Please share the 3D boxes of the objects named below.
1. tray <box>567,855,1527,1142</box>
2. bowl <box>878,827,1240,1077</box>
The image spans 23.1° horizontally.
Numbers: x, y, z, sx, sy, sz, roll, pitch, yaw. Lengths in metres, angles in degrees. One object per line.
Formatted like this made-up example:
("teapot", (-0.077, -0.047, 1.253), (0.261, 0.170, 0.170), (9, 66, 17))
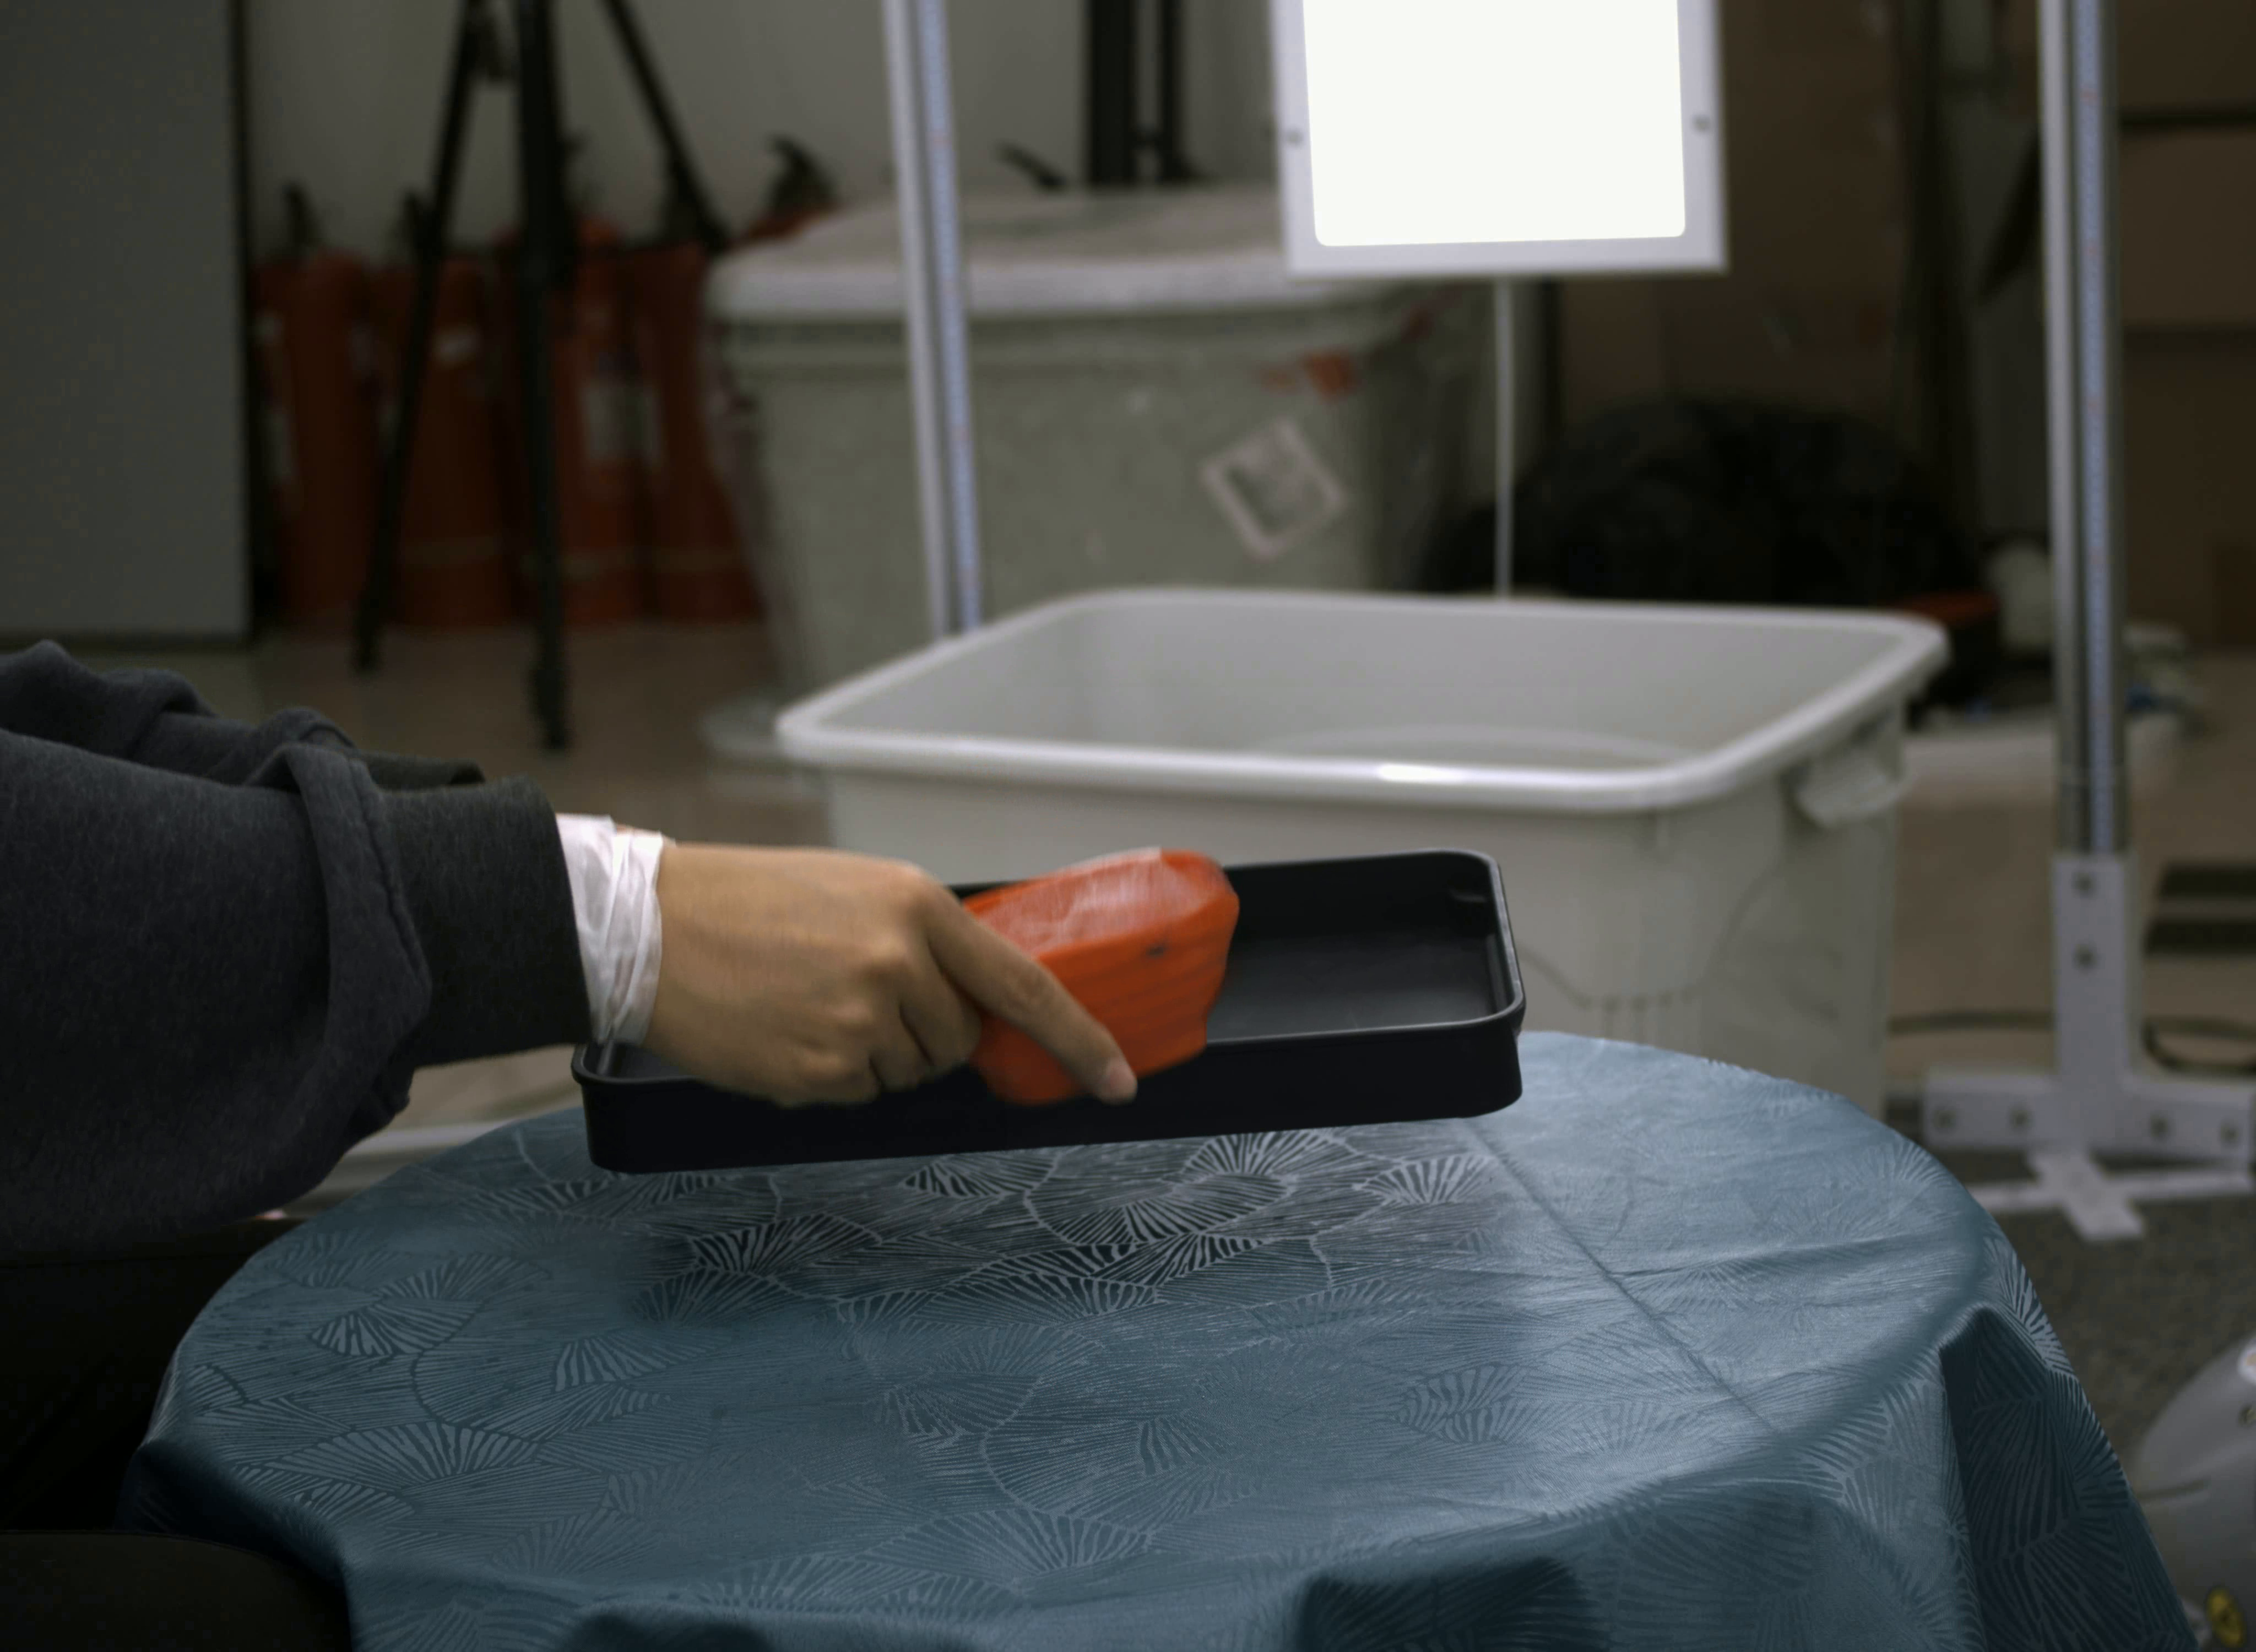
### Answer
("tray", (-0.027, 0.057, 1.883), (0.317, 0.037, 0.183), (-2, 17, 2))
("bowl", (-0.017, 0.041, 1.686), (0.119, 0.051, 0.119), (-13, 12, 1))
